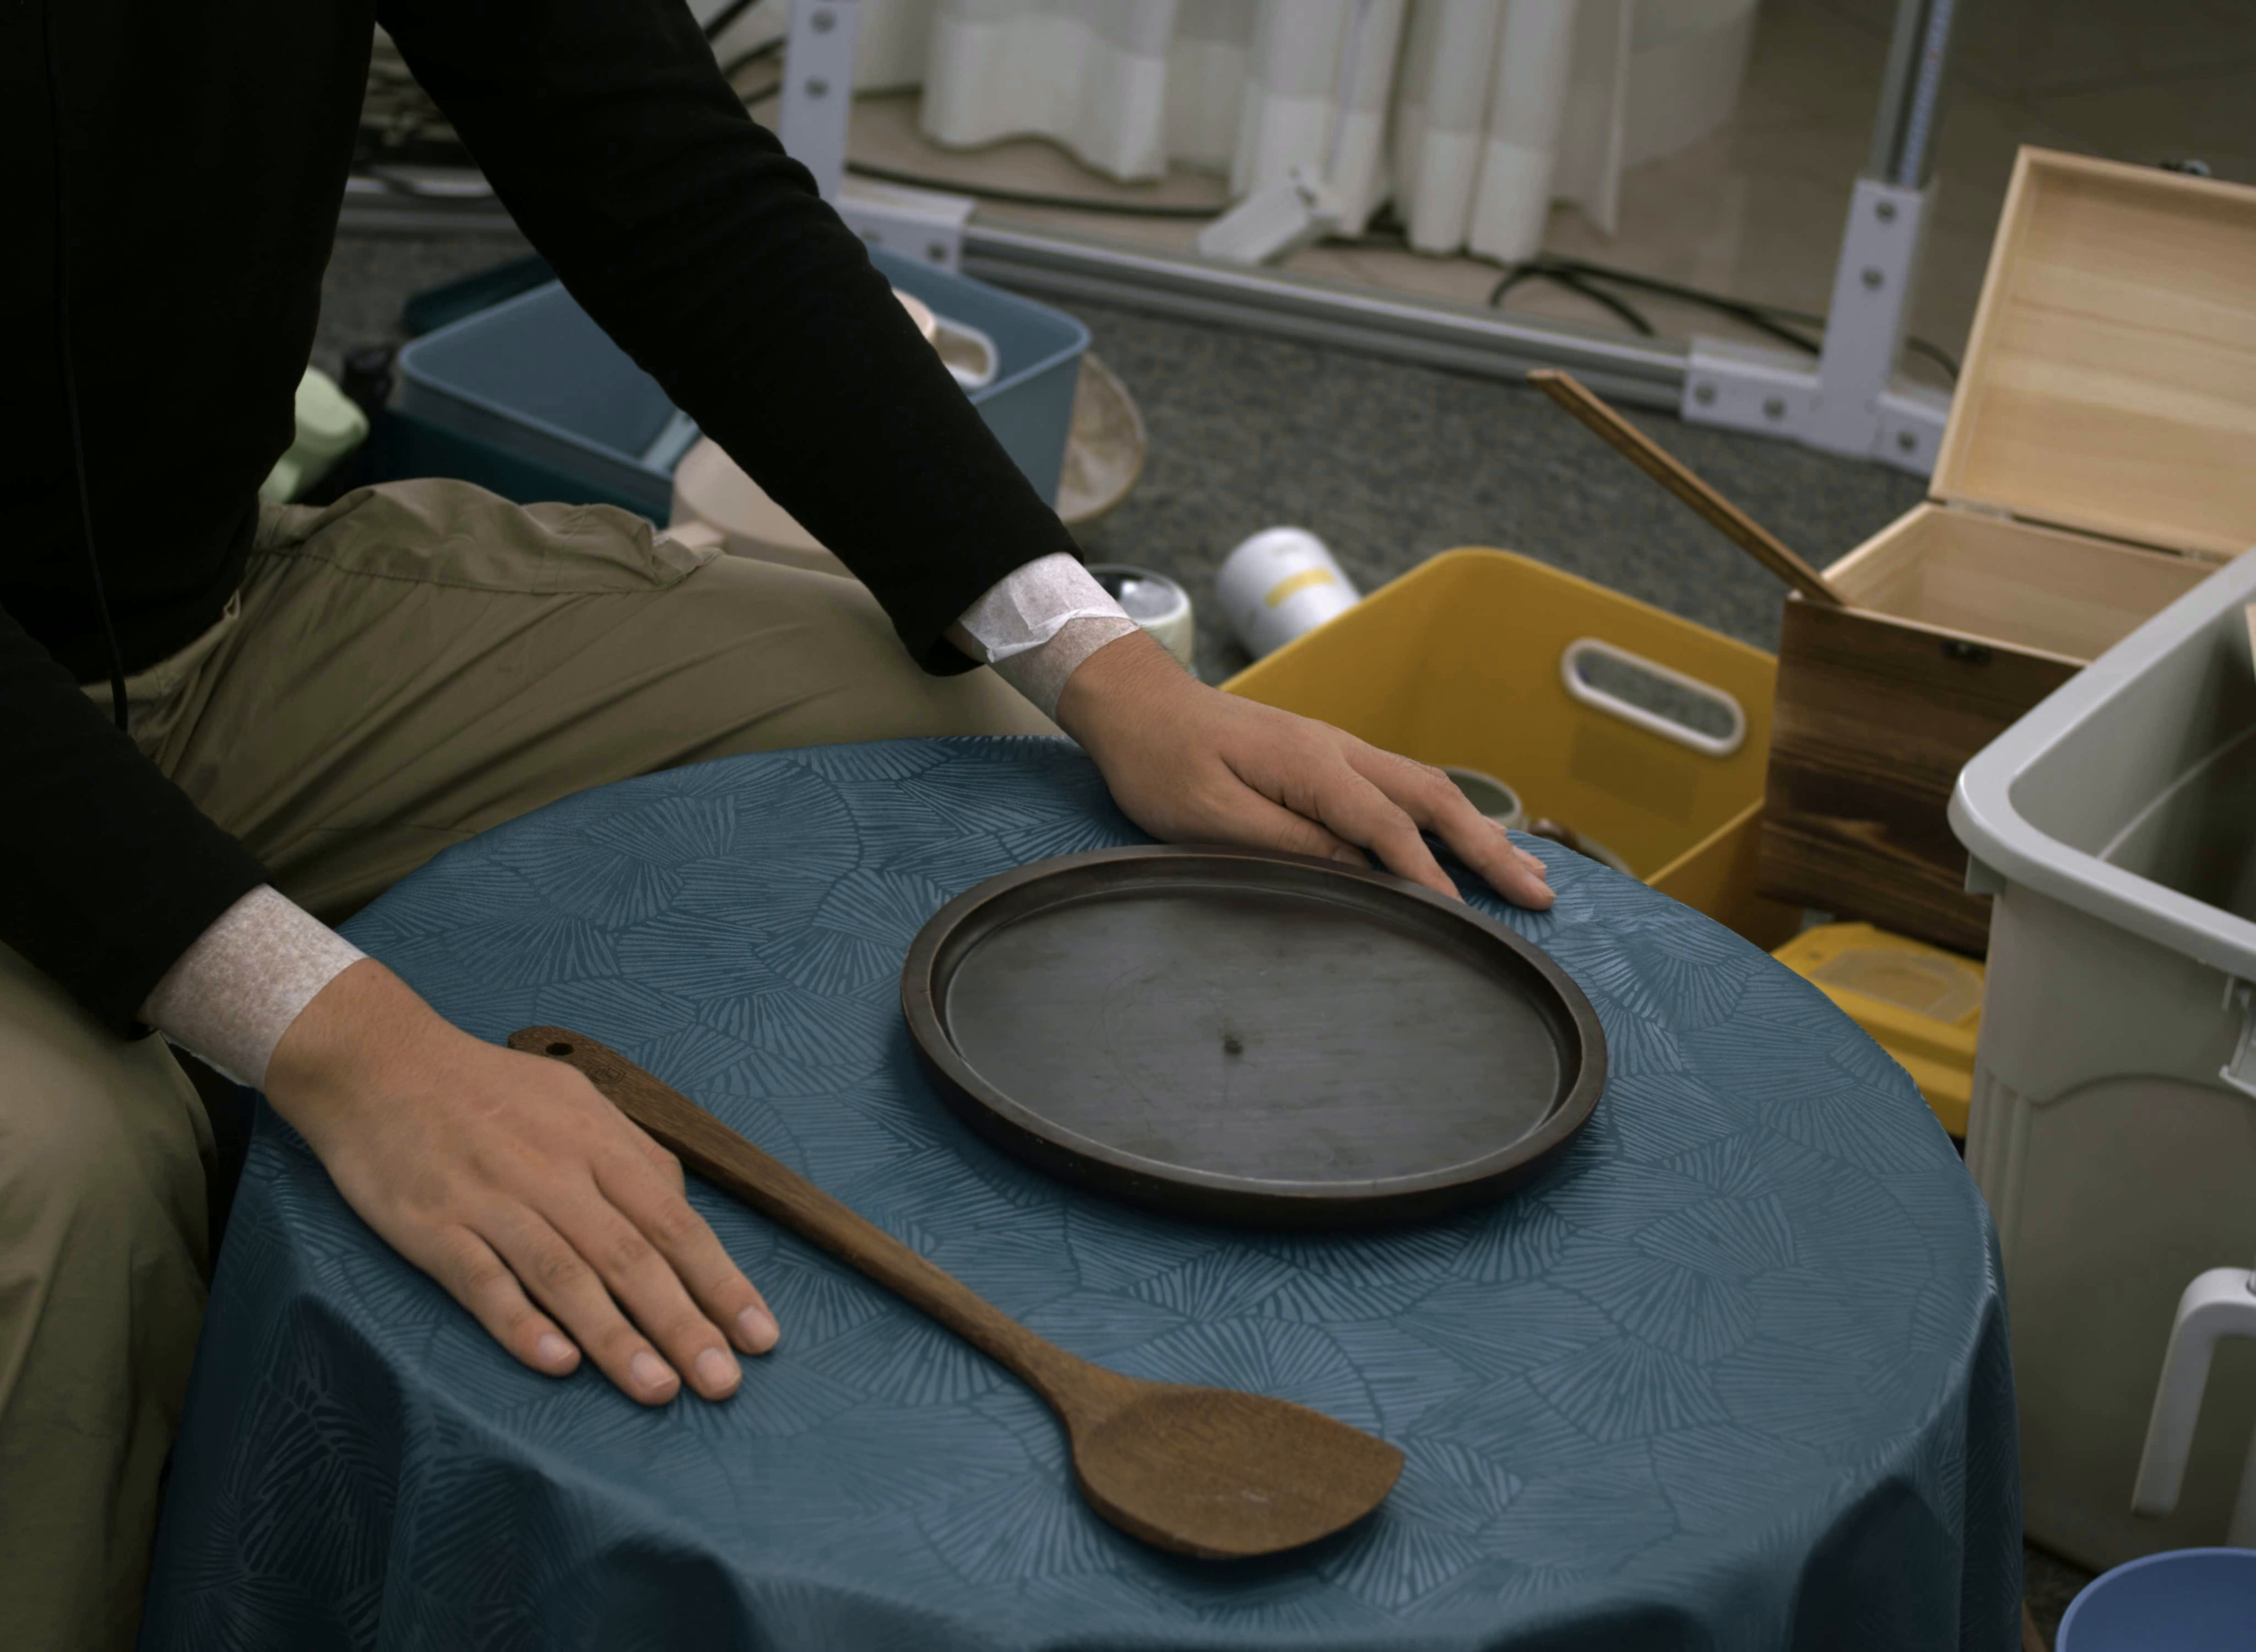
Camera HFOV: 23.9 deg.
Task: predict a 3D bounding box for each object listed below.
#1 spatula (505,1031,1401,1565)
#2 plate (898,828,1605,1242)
[{"bbox_3d":[-0.075,0.144,1.728,0.389,0.016,0.095,28,33,36],"label":"spatula"},{"bbox_3d":[0.043,0.074,1.884,0.254,0.029,0.256,5,28,-3],"label":"plate"}]
